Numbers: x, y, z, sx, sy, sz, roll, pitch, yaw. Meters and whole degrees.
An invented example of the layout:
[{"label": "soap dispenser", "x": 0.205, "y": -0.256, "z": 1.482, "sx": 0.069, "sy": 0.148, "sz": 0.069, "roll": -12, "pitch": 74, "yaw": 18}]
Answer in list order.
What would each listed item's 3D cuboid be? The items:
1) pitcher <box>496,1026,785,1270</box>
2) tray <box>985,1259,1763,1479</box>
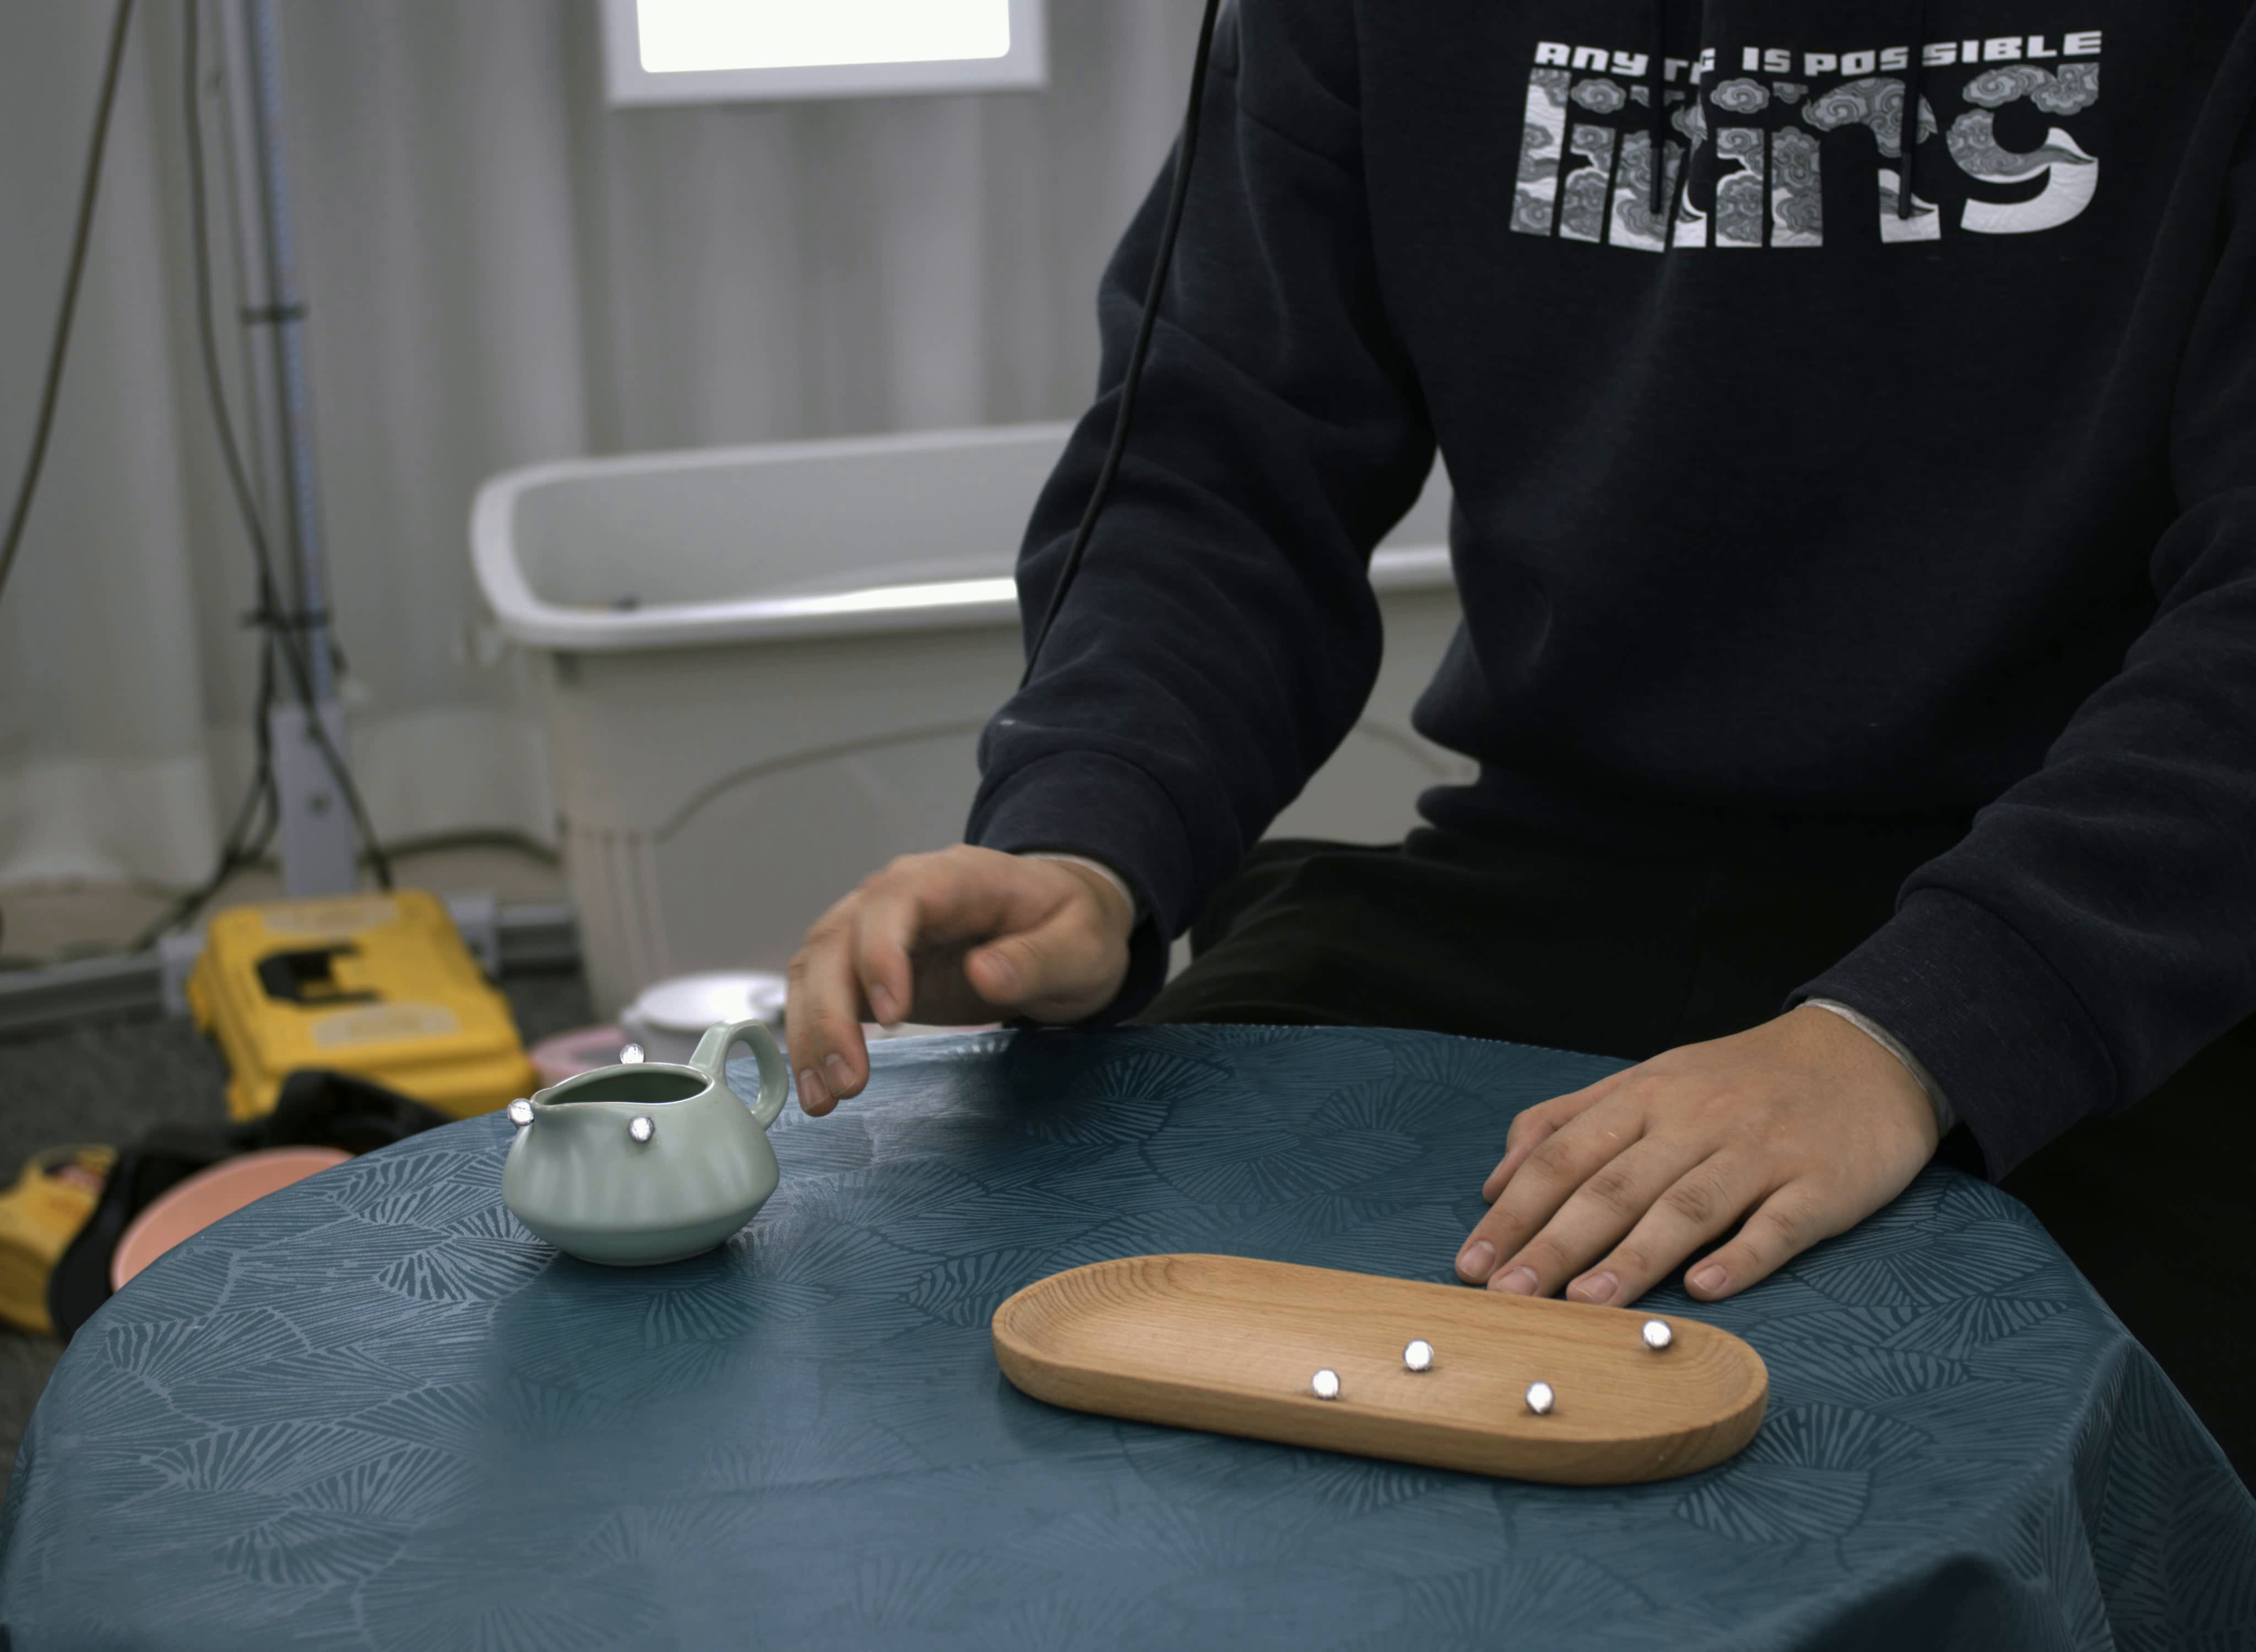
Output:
[{"label": "pitcher", "x": -0.145, "y": 0.100, "z": 1.693, "sx": 0.086, "sy": 0.060, "sz": 0.108, "roll": 9, "pitch": 17, "yaw": 35}, {"label": "tray", "x": 0.067, "y": 0.152, "z": 1.536, "sx": 0.231, "sy": 0.020, "sz": 0.102, "roll": 3, "pitch": 14, "yaw": 28}]
